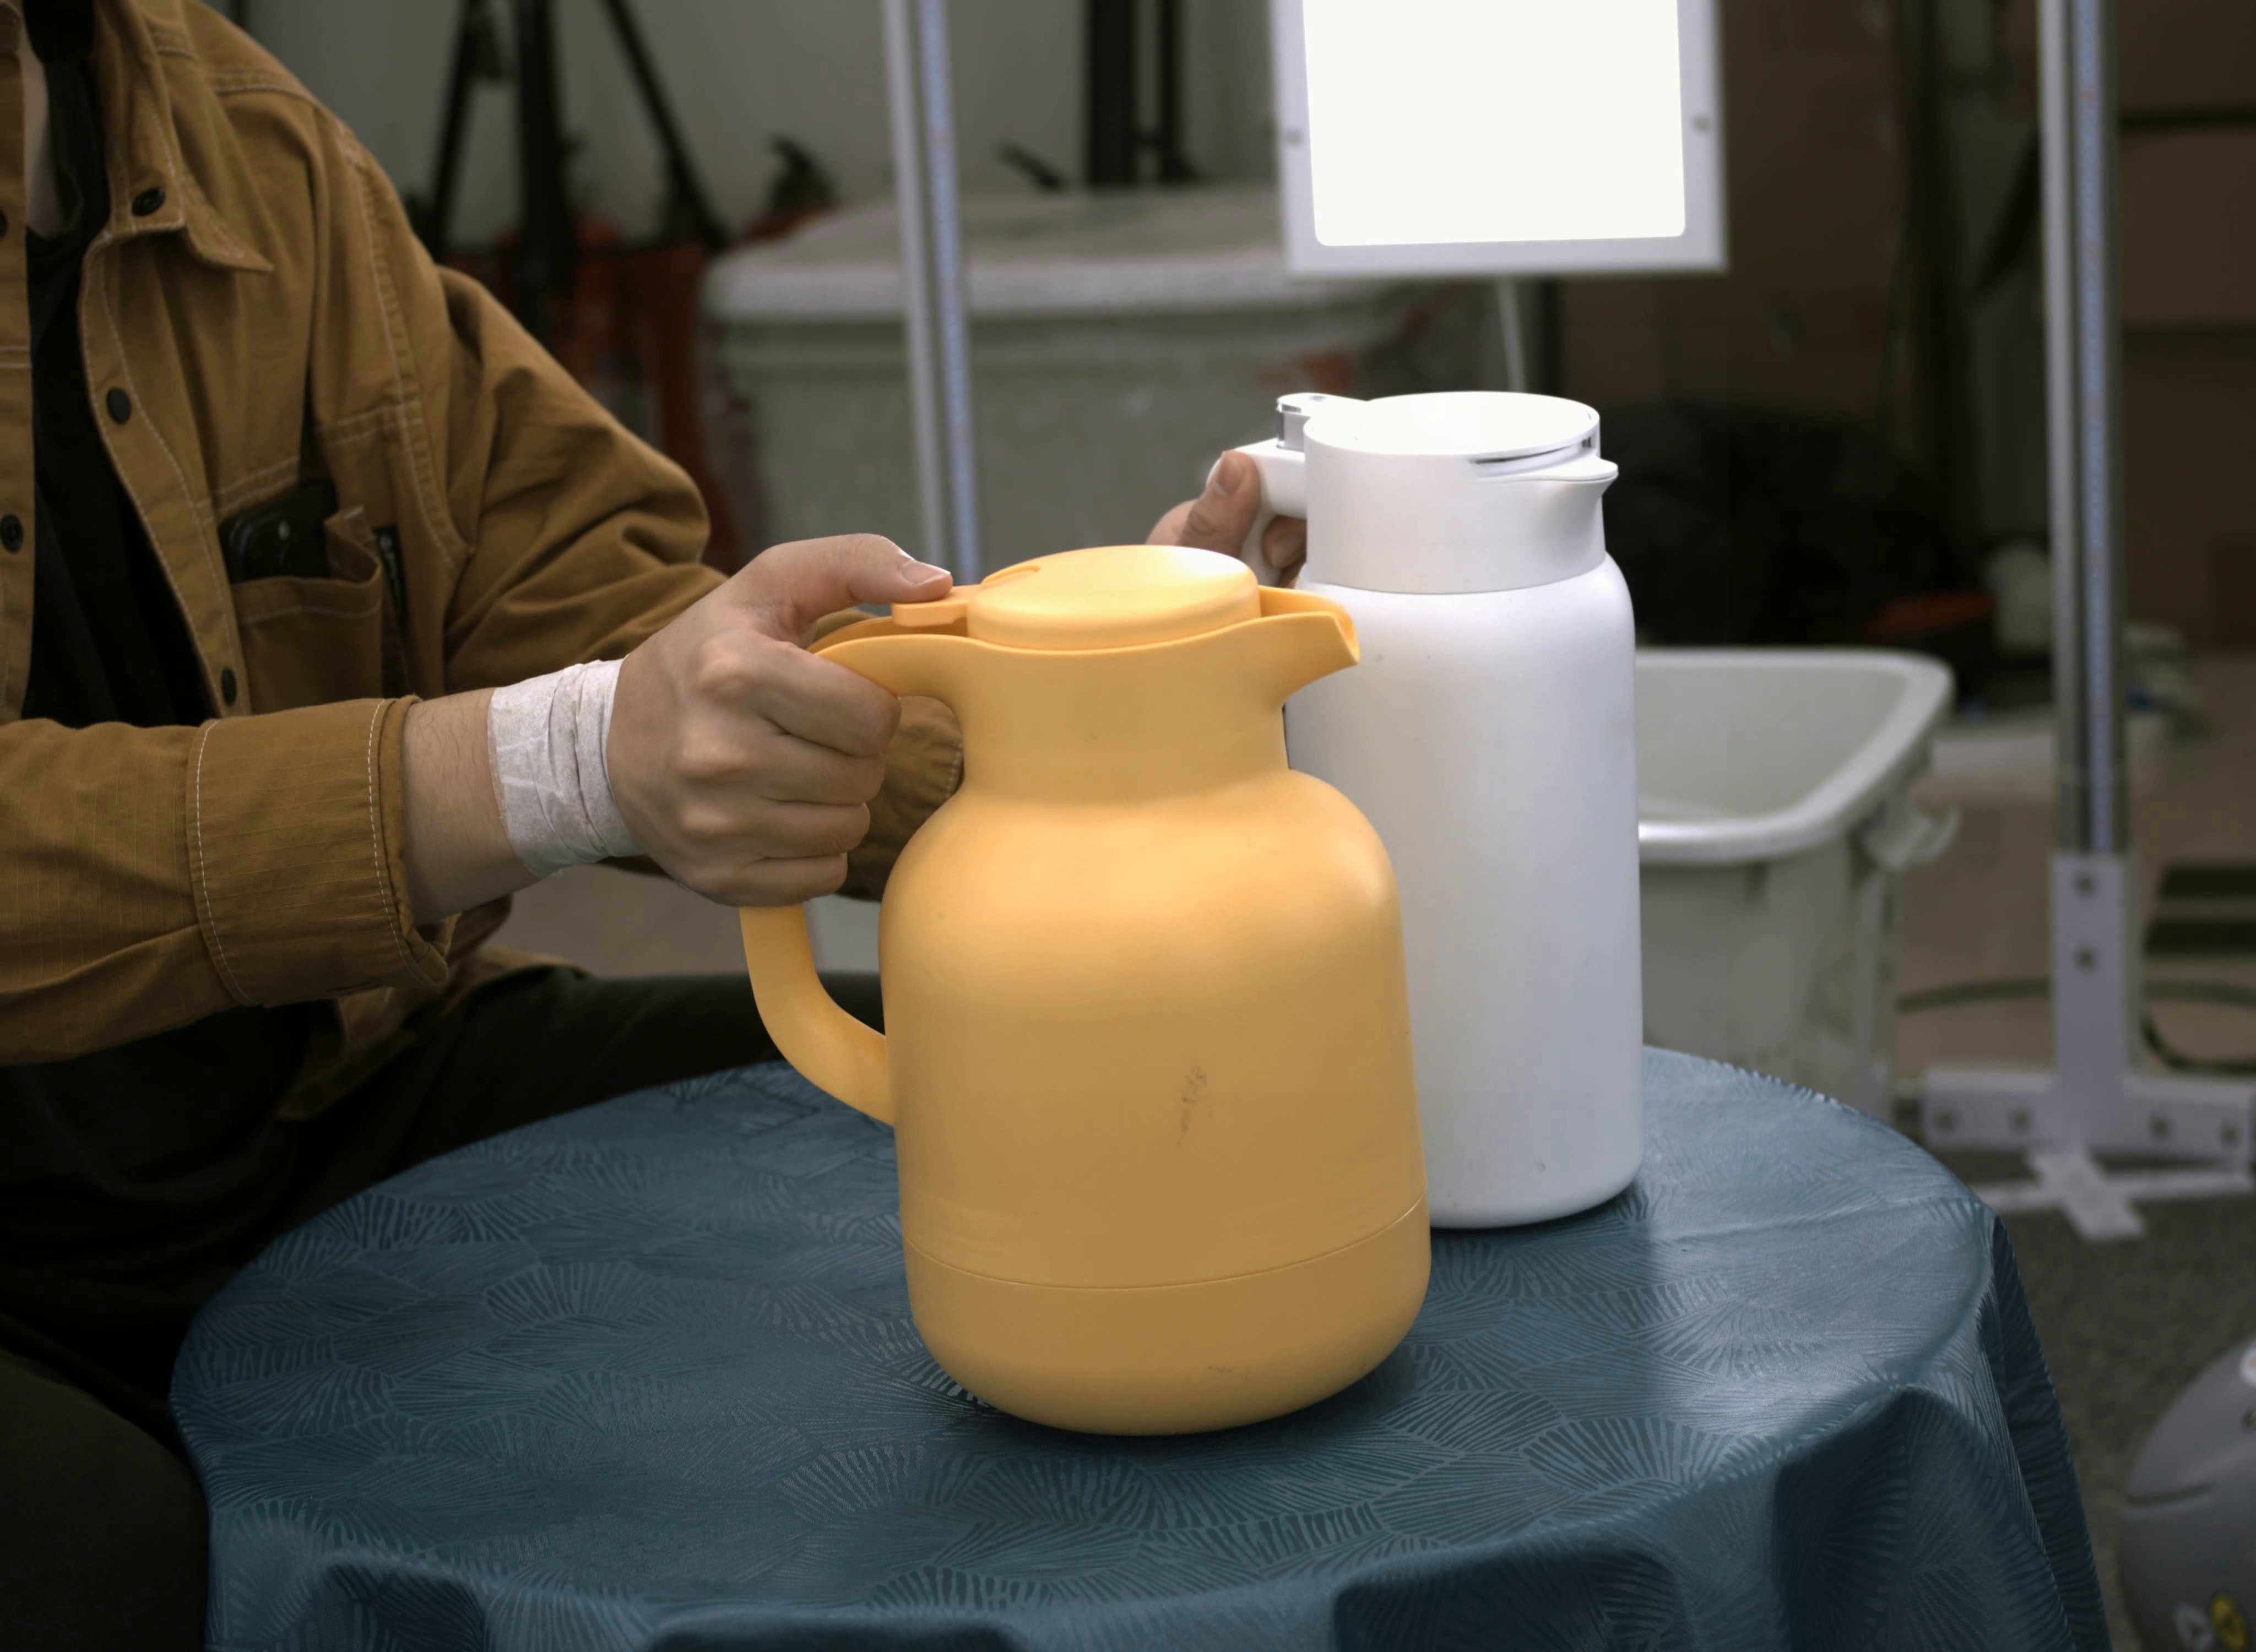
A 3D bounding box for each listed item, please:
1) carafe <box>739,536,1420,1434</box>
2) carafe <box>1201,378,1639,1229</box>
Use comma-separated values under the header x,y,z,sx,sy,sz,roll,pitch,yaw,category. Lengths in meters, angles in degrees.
x,y,z,sx,sy,sz,roll,pitch,yaw,category
-0.015,0.044,1.679,0.204,0.261,0.161,0,14,12,carafe
0.098,-0.010,1.844,0.176,0.270,0.121,13,24,44,carafe
